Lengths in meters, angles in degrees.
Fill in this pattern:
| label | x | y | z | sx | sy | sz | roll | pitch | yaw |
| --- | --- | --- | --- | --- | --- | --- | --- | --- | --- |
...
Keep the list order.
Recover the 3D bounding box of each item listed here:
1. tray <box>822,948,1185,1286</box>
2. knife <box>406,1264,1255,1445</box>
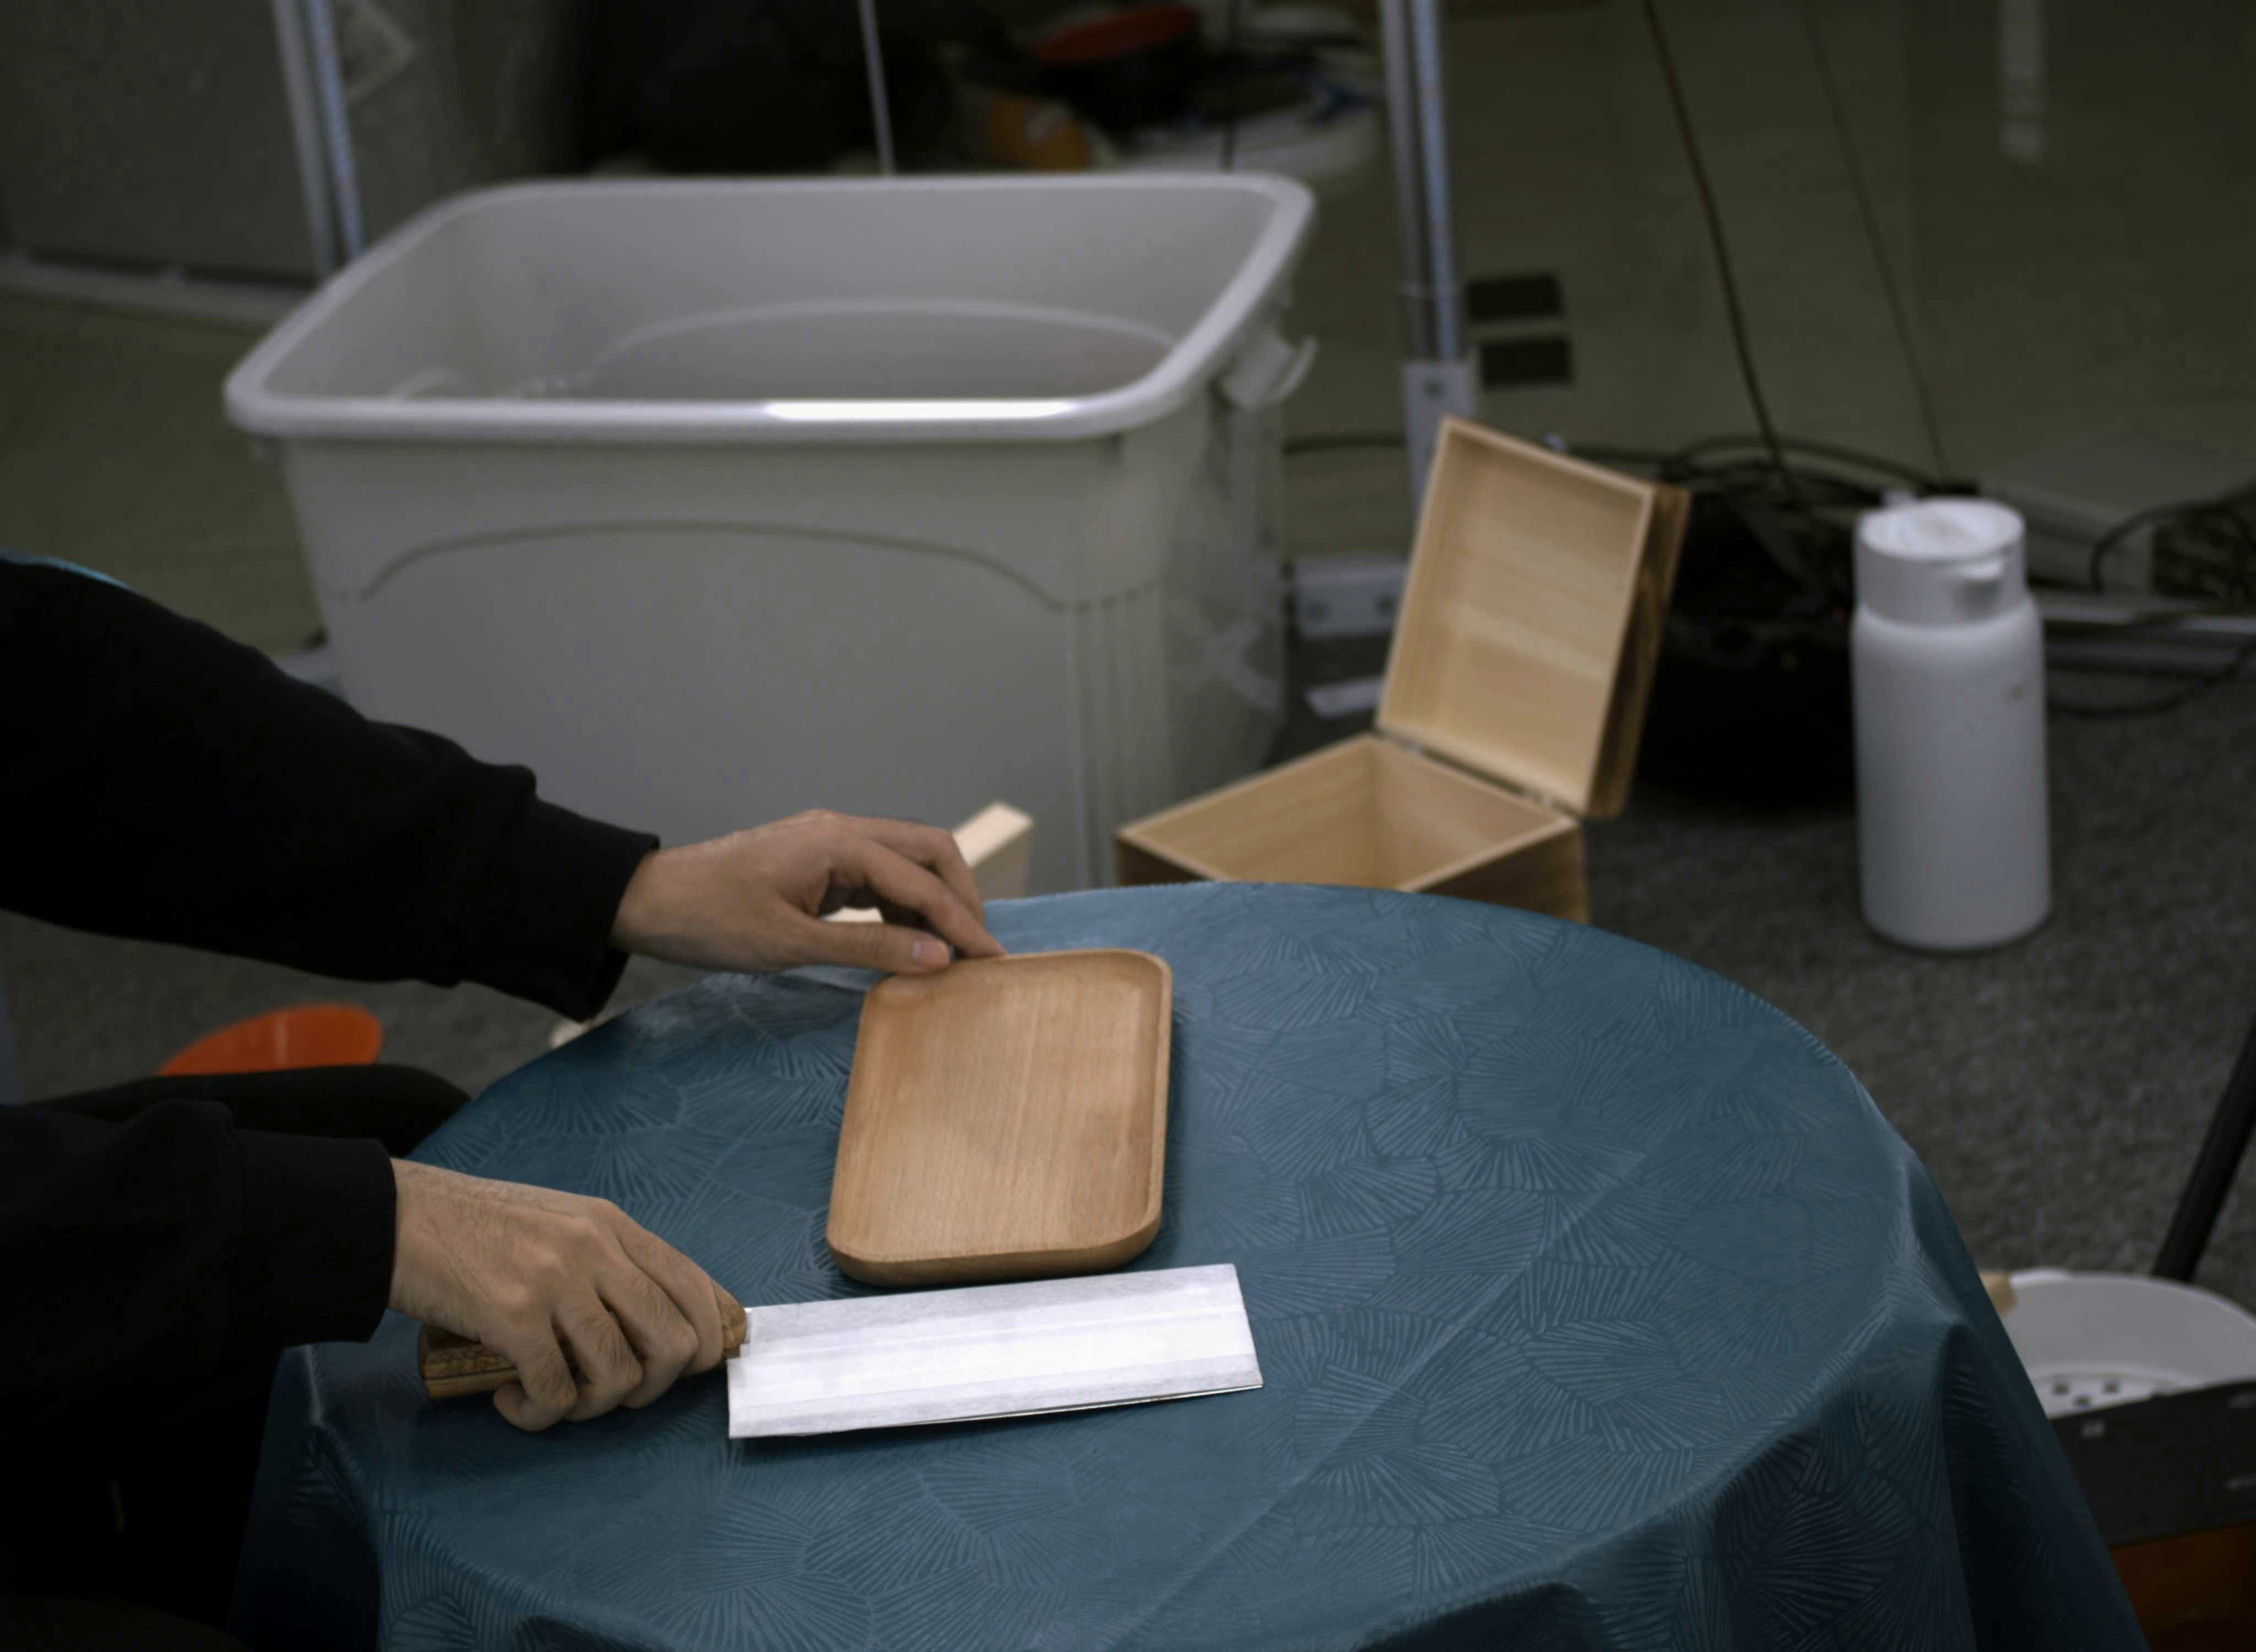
| label | x | y | z | sx | sy | sz | roll | pitch | yaw |
| --- | --- | --- | --- | --- | --- | --- | --- | --- | --- |
| tray | -0.046 | 0.111 | 2.200 | 0.130 | 0.023 | 0.247 | -2 | 24 | 5 |
| knife | -0.107 | 0.193 | 2.039 | 0.305 | 0.021 | 0.091 | -5 | 26 | -4 |
